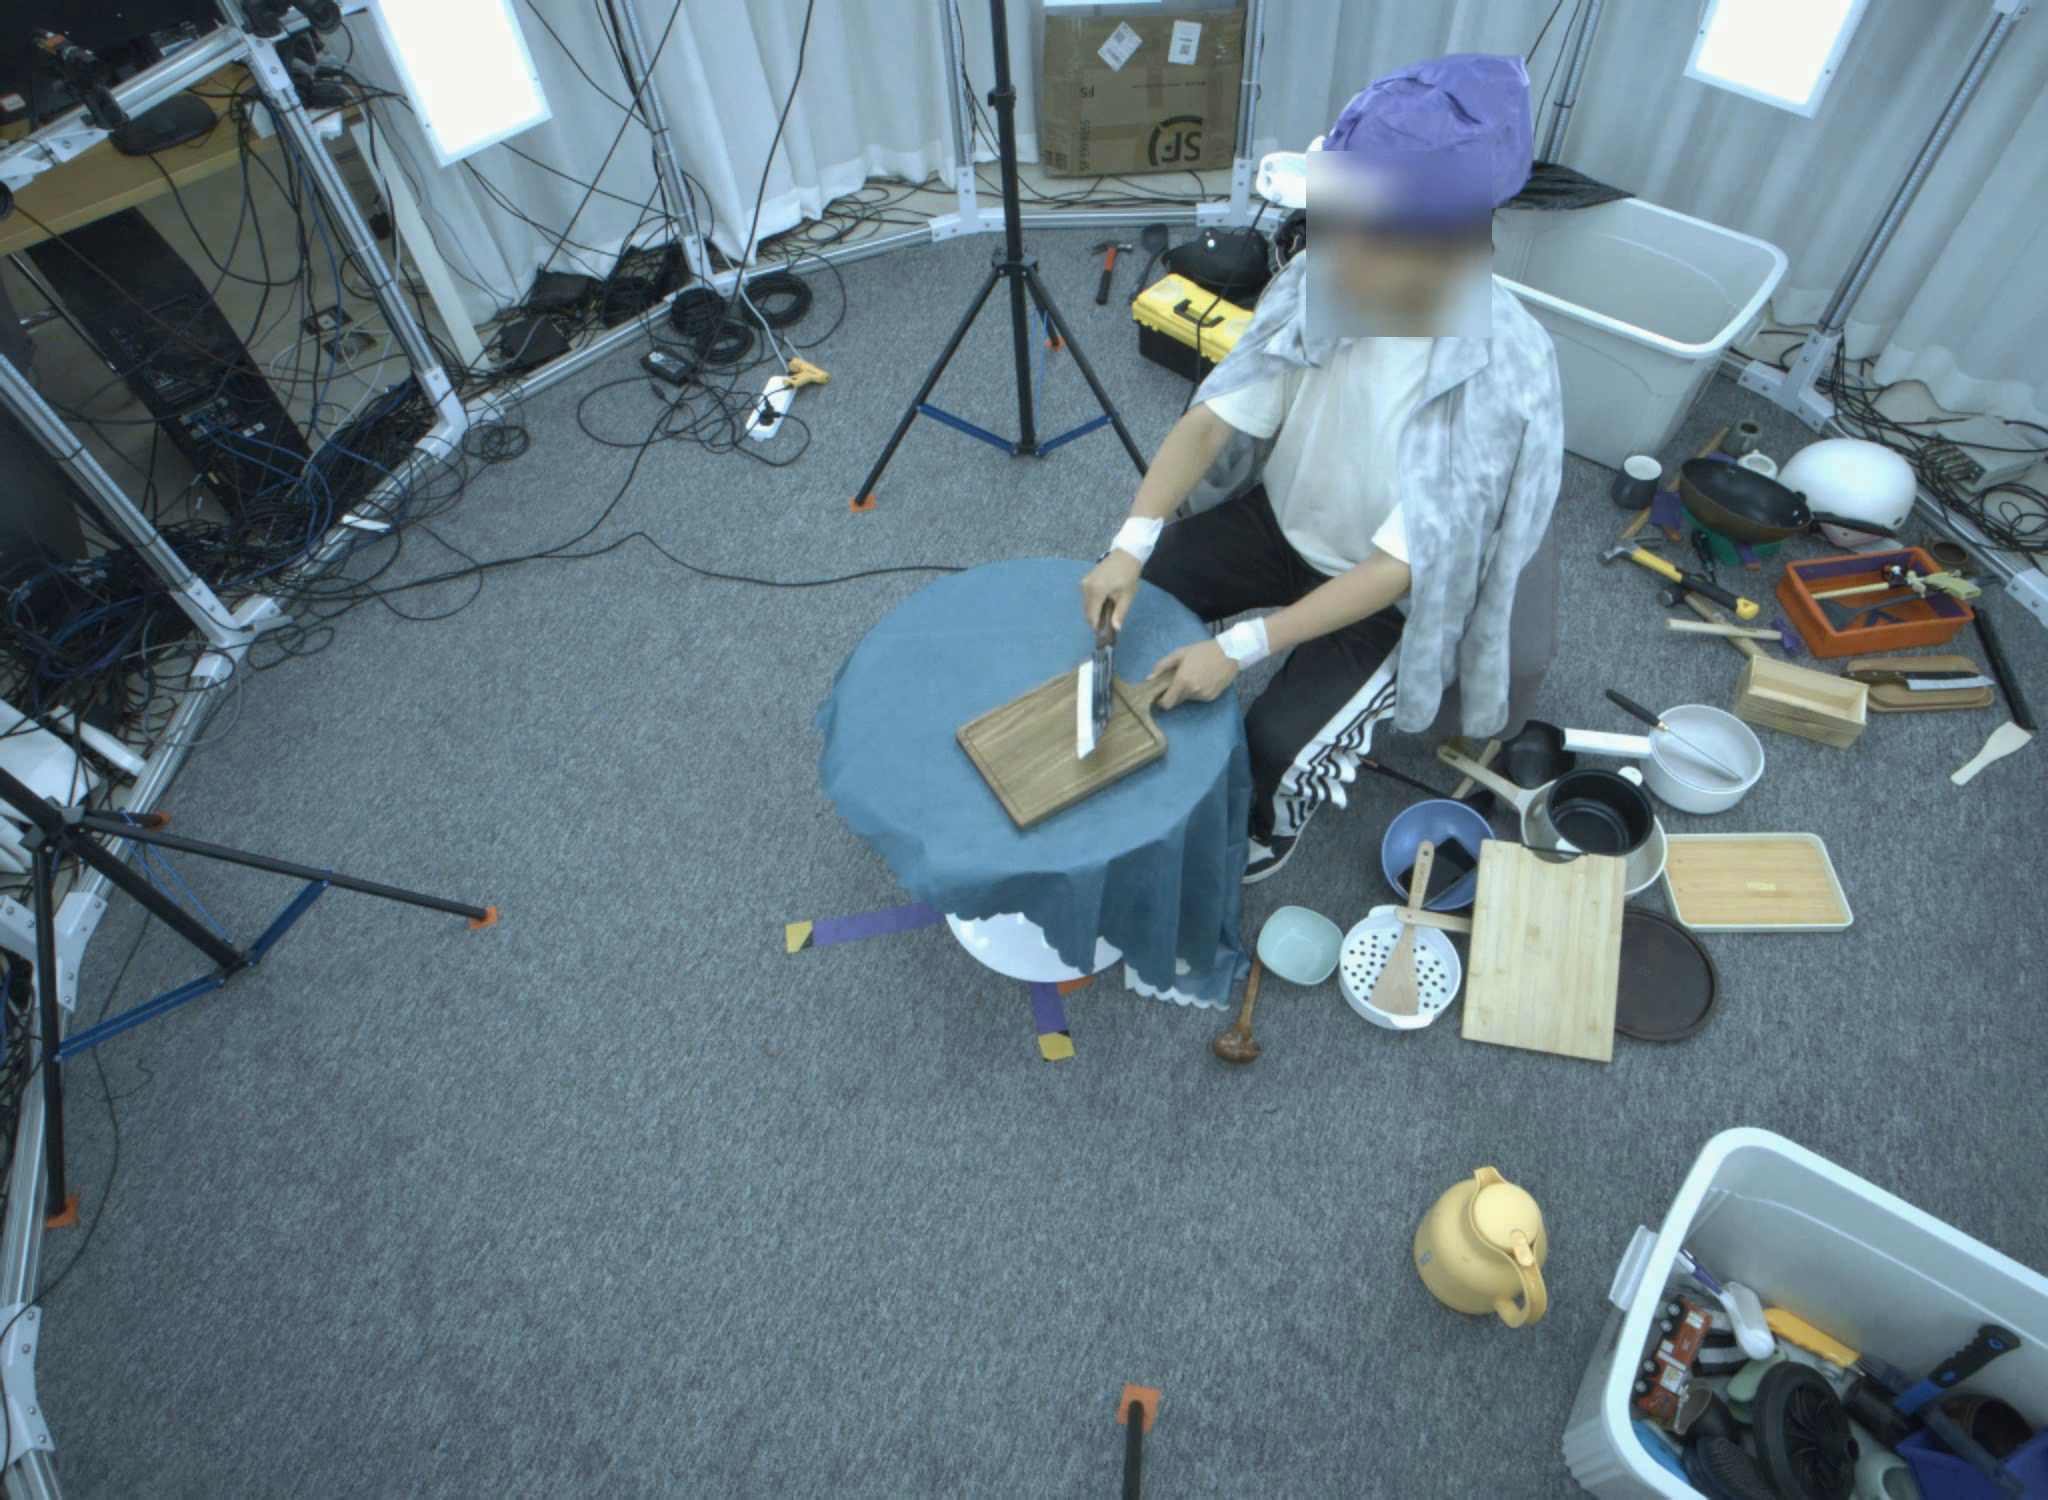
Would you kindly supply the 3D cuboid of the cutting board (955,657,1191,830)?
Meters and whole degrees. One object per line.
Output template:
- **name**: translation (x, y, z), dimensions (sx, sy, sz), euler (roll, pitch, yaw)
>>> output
- **cutting board**: translation (0.096, -0.038, 1.790), dimensions (0.354, 0.023, 0.197), euler (-28, 59, -14)

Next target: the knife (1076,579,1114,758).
- **knife**: translation (0.100, -0.121, 1.771), dimensions (0.067, 0.024, 0.297), euler (-26, 46, 39)
